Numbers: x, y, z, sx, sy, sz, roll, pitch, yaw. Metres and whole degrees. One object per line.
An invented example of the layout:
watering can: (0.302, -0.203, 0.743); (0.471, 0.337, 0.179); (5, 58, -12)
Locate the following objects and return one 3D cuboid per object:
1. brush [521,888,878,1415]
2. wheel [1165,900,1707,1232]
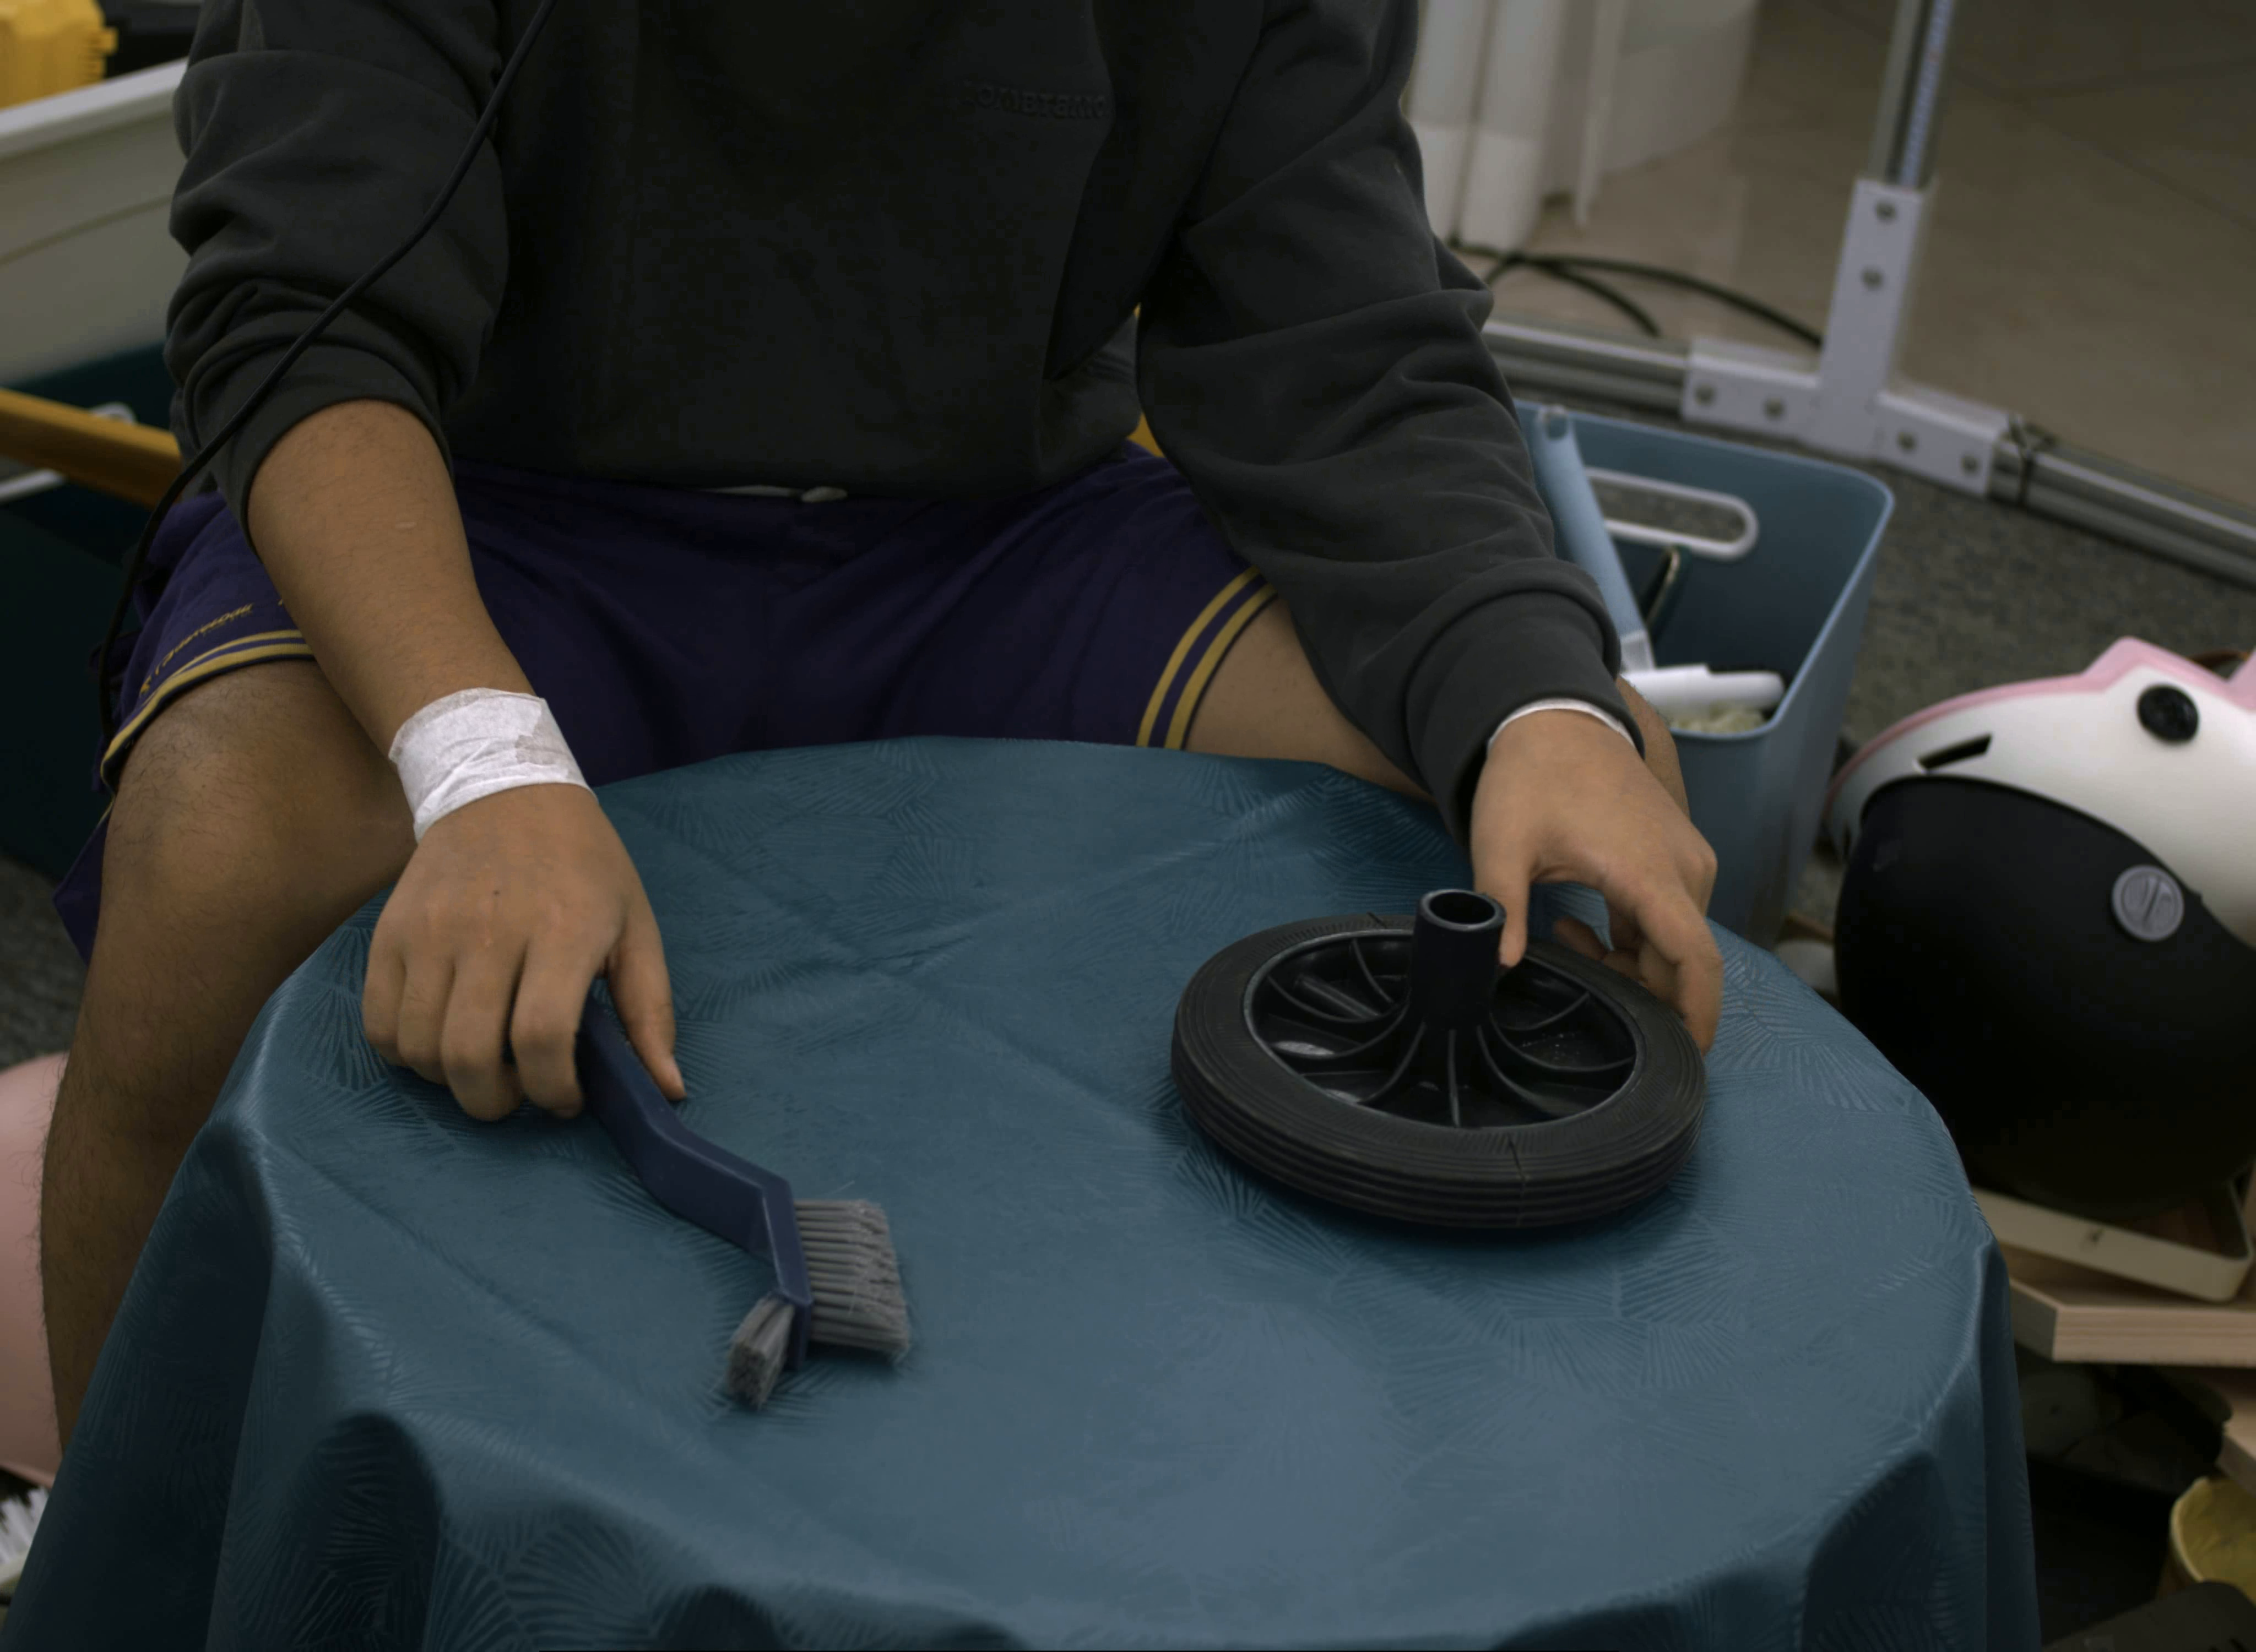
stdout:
brush: (-0.164, 0.103, 1.770); (0.095, 0.033, 0.275); (-12, 34, -31)
wheel: (0.110, 0.067, 1.853); (0.190, 0.079, 0.187); (14, 28, 17)
